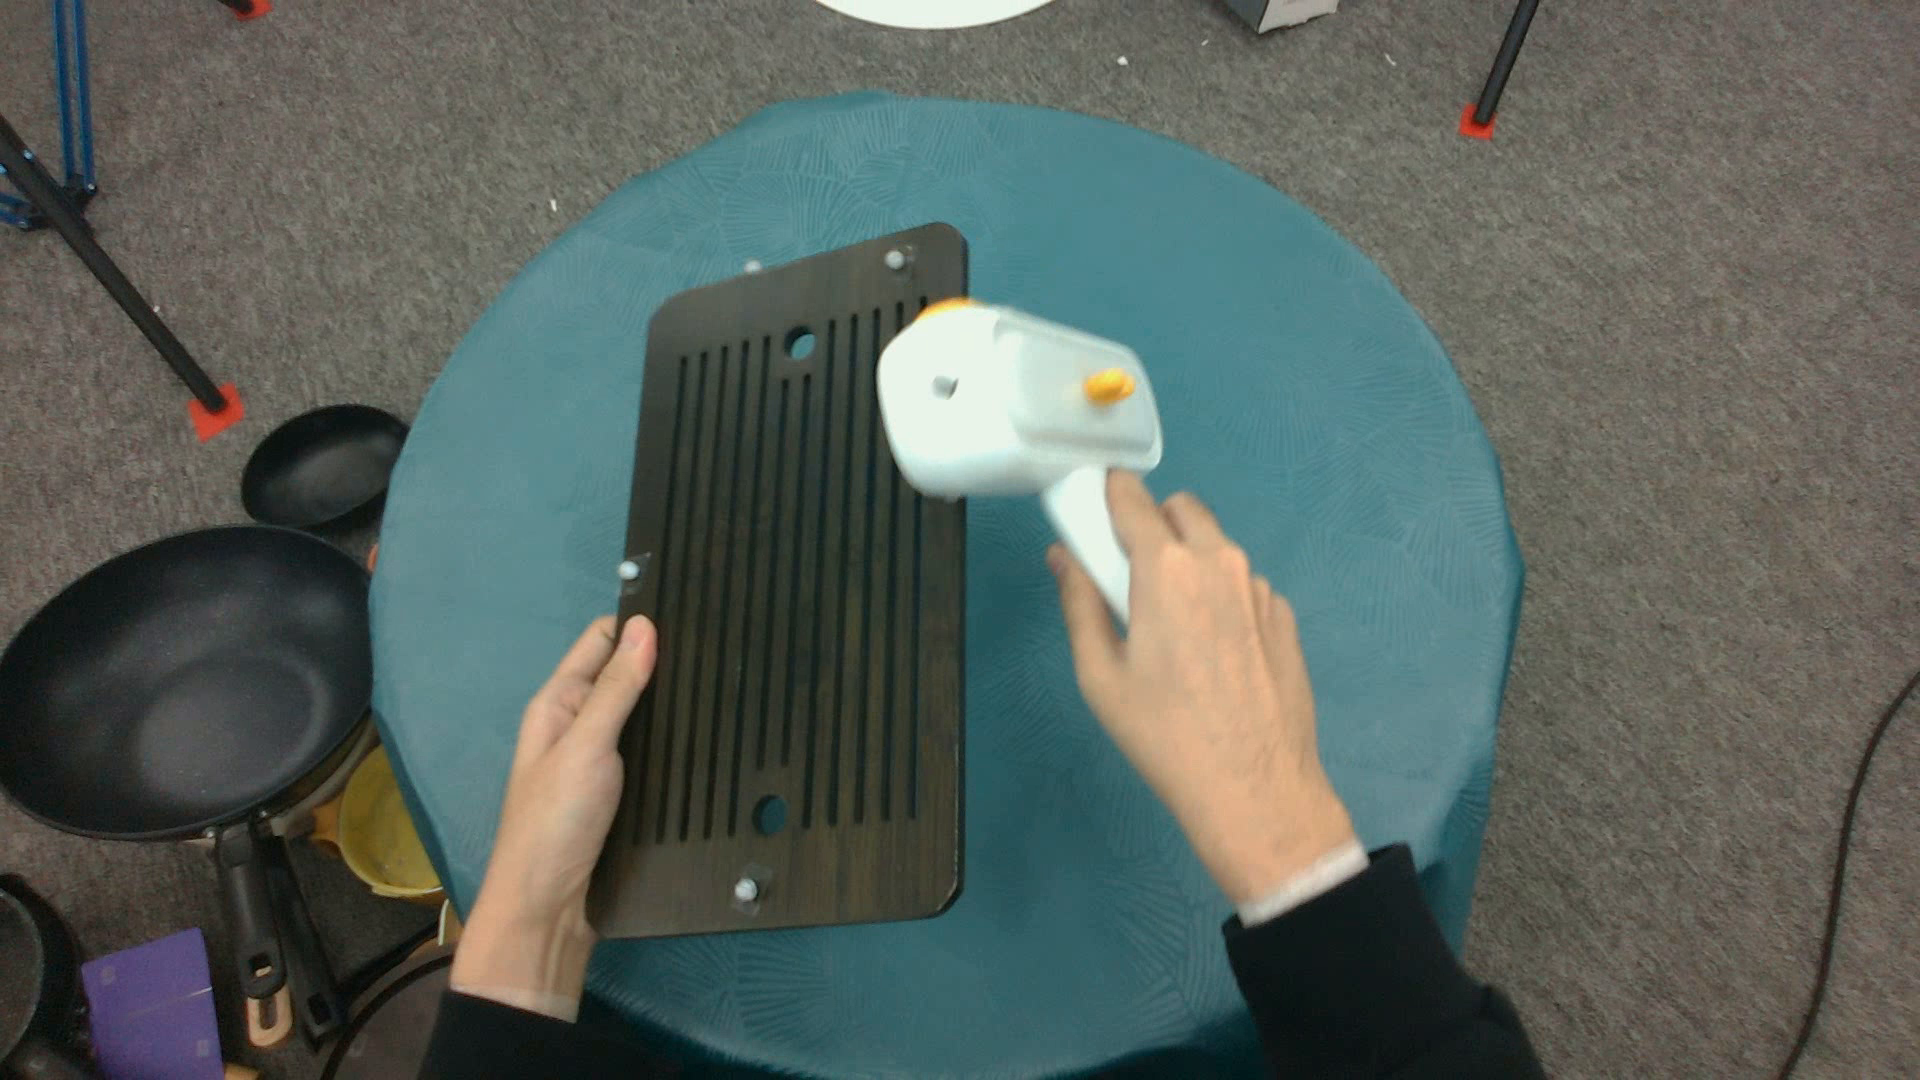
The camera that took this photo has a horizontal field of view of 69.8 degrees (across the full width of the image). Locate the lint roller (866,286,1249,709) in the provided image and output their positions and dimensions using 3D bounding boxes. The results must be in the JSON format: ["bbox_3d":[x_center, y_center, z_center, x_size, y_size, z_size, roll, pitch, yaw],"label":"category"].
[{"bbox_3d":[0.053,-0.013,0.567,0.074,0.193,0.192,-26,85,21],"label":"lint roller"}]

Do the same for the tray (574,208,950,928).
[{"bbox_3d":[-0.082,0.006,0.594,0.170,0.018,0.307,-10,66,22],"label":"tray"}]
